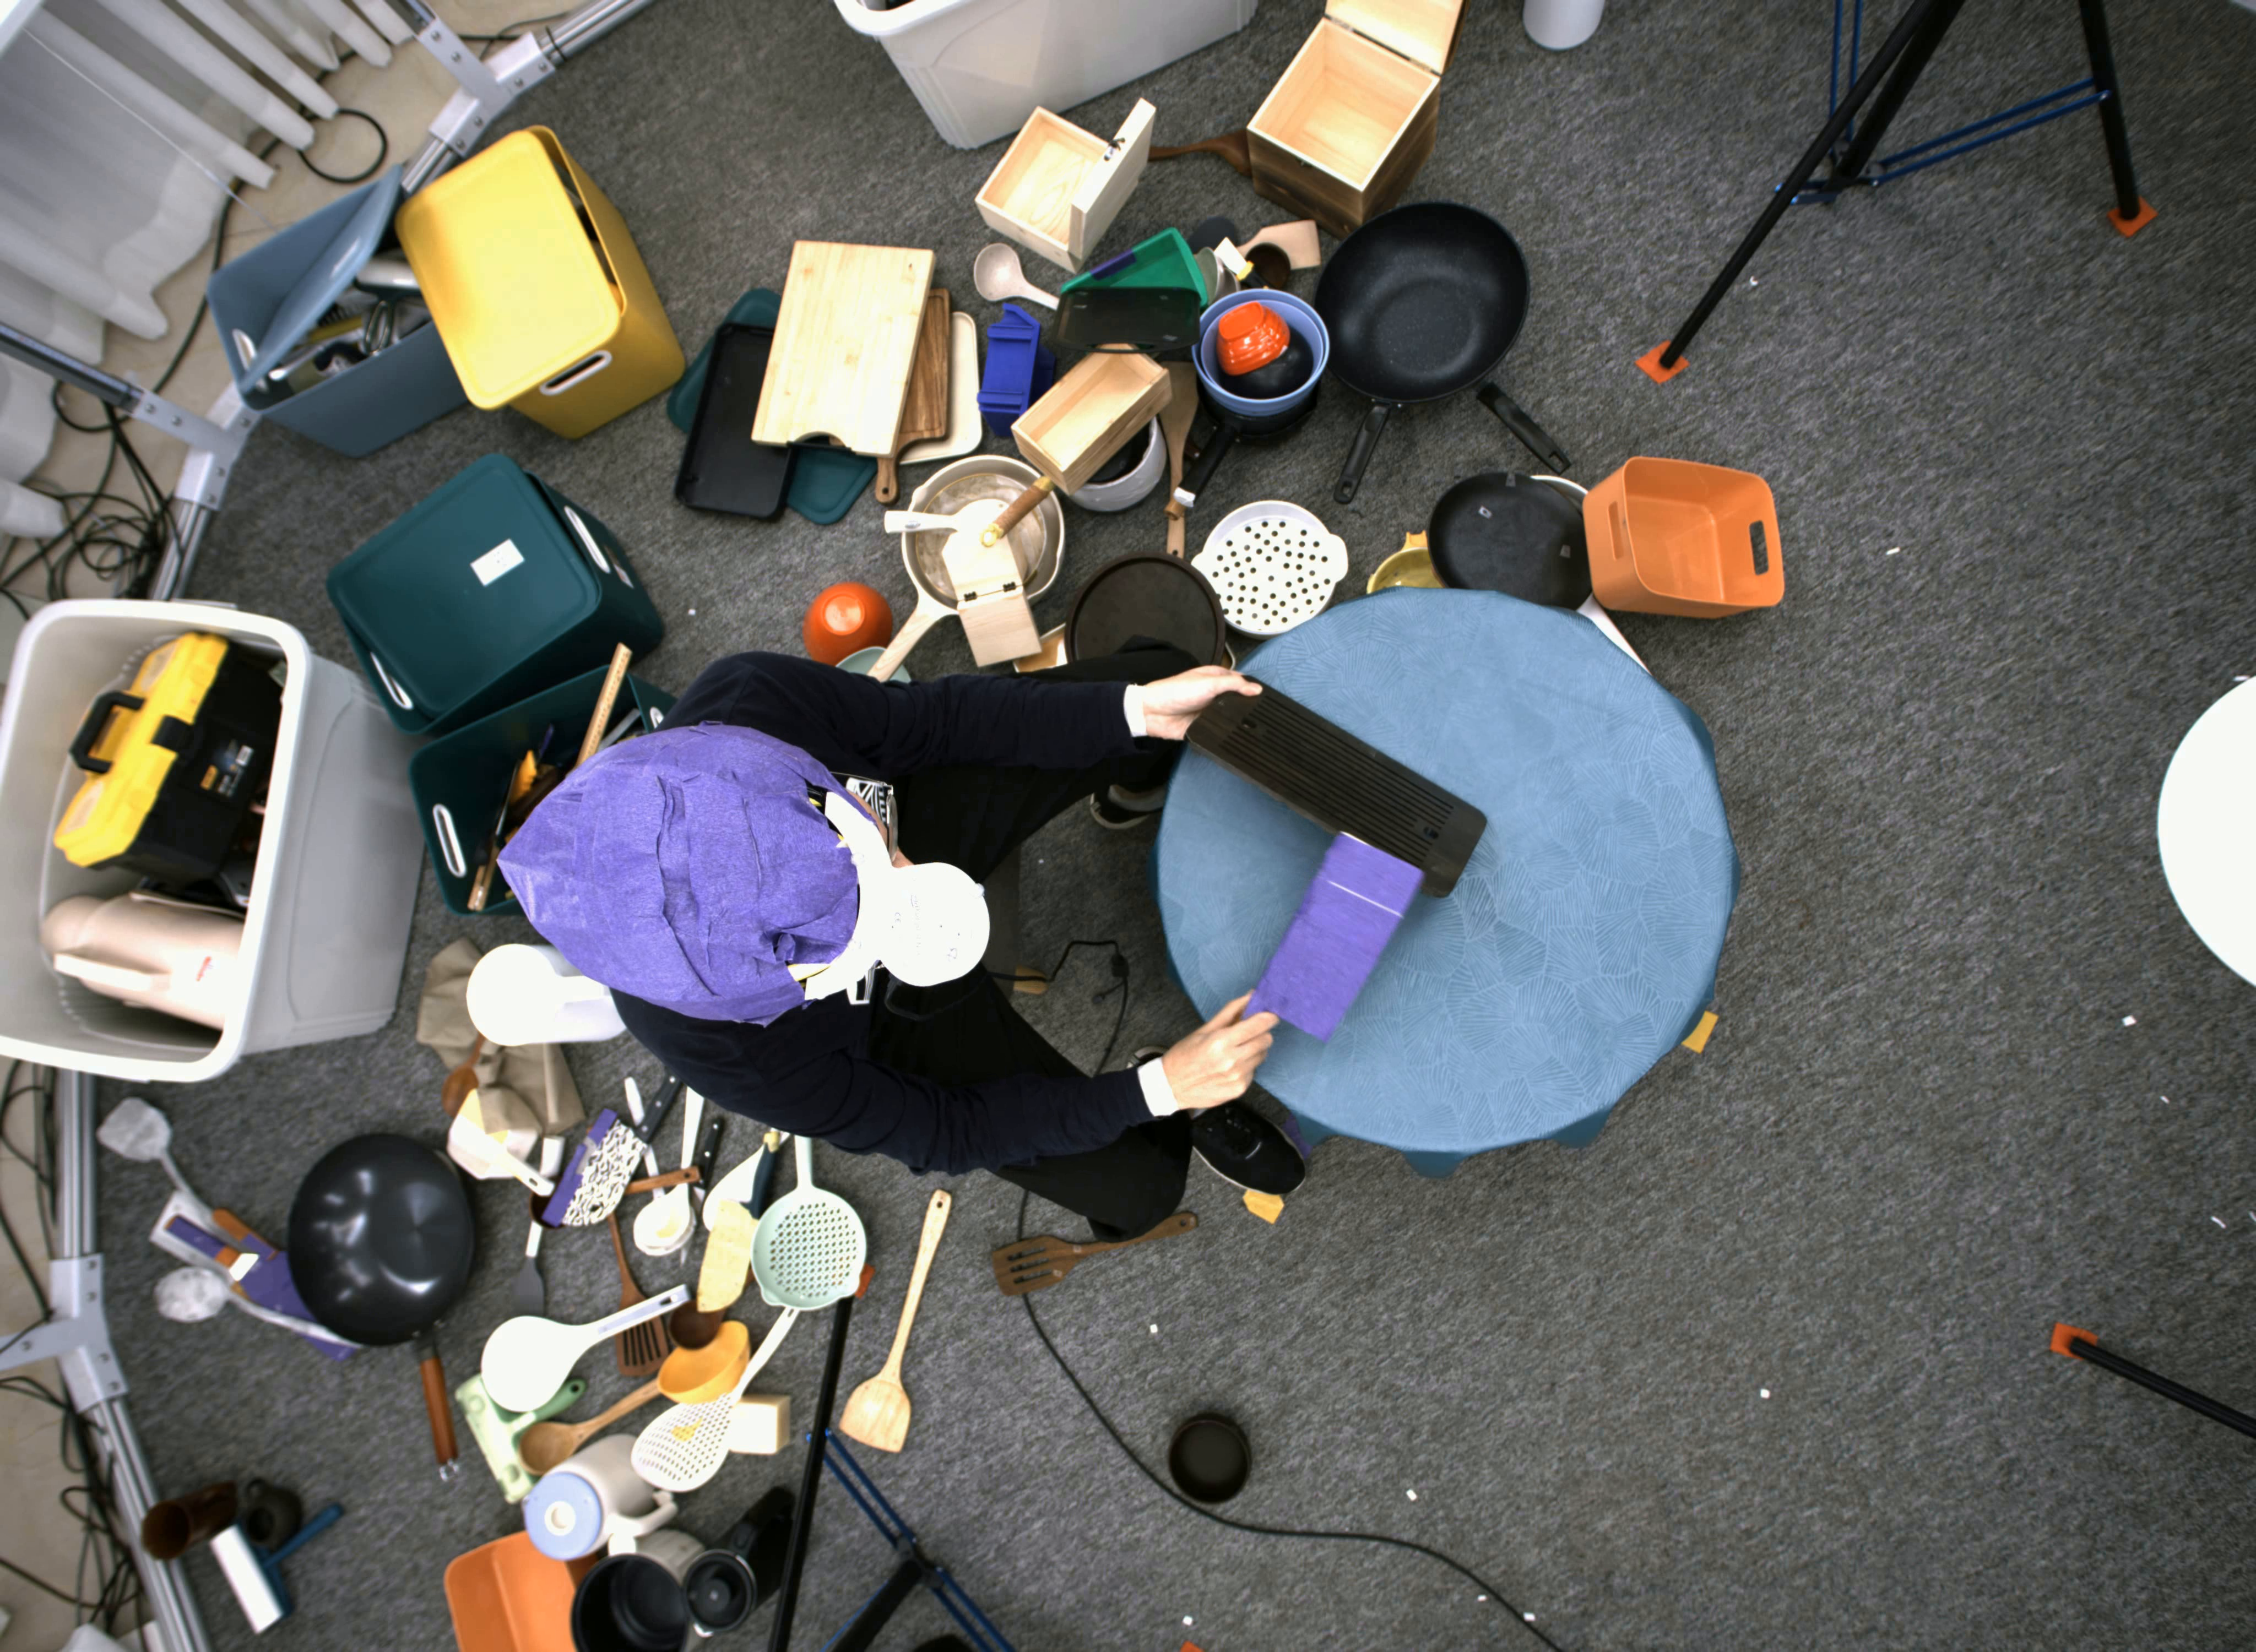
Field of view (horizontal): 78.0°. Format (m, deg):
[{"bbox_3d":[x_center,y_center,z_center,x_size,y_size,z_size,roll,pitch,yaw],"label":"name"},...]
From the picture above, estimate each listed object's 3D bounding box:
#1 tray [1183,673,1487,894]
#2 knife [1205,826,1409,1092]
[{"bbox_3d":[0.214,-0.048,1.407,0.305,0.166,0.019,32,130,9],"label":"tray"},{"bbox_3d":[0.177,0.151,1.379,0.104,0.031,0.322,26,117,4],"label":"knife"}]
